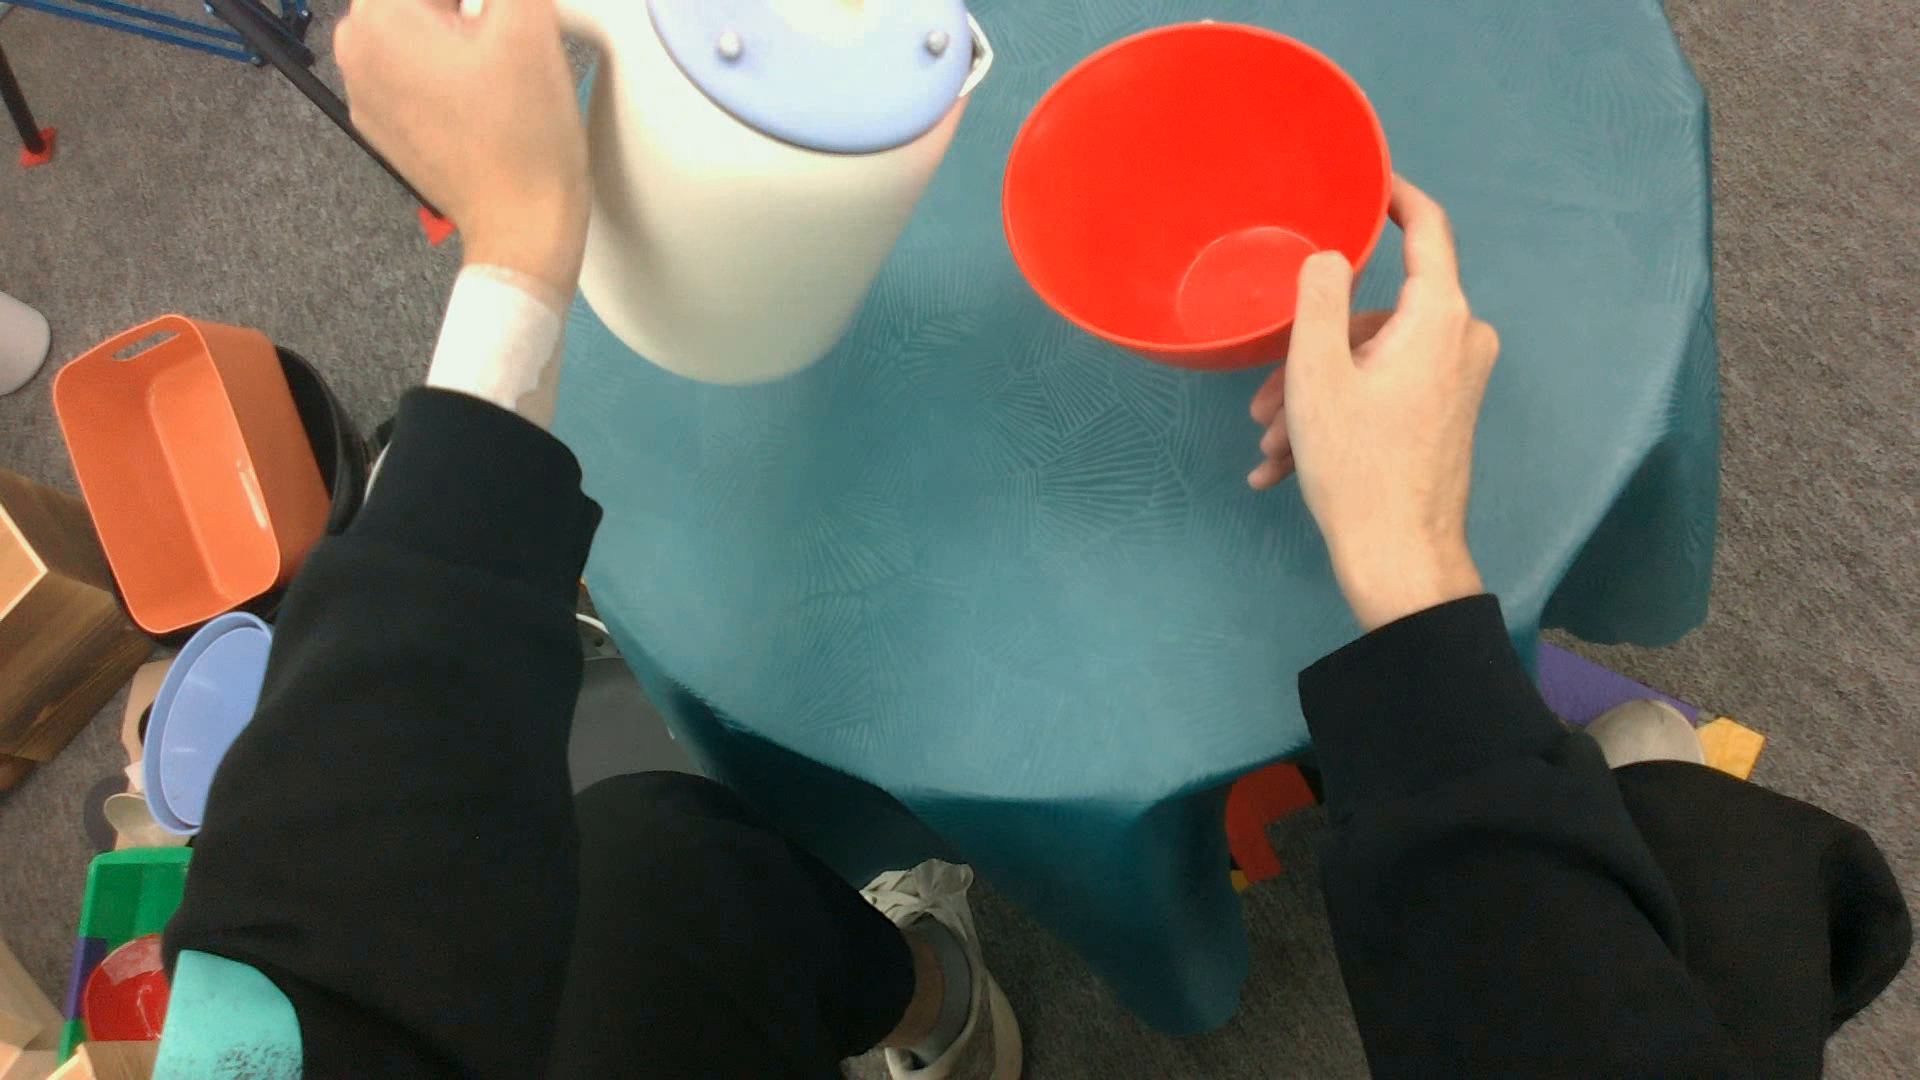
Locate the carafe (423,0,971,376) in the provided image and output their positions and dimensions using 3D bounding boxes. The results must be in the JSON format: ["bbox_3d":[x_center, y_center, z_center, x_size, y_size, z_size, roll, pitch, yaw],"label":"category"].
[{"bbox_3d":[-0.110,-0.161,0.545,0.191,0.181,0.132,2,67,-19],"label":"carafe"}]

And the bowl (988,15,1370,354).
[{"bbox_3d":[0.098,-0.133,0.578,0.148,0.104,0.148,-8,66,18],"label":"bowl"}]
